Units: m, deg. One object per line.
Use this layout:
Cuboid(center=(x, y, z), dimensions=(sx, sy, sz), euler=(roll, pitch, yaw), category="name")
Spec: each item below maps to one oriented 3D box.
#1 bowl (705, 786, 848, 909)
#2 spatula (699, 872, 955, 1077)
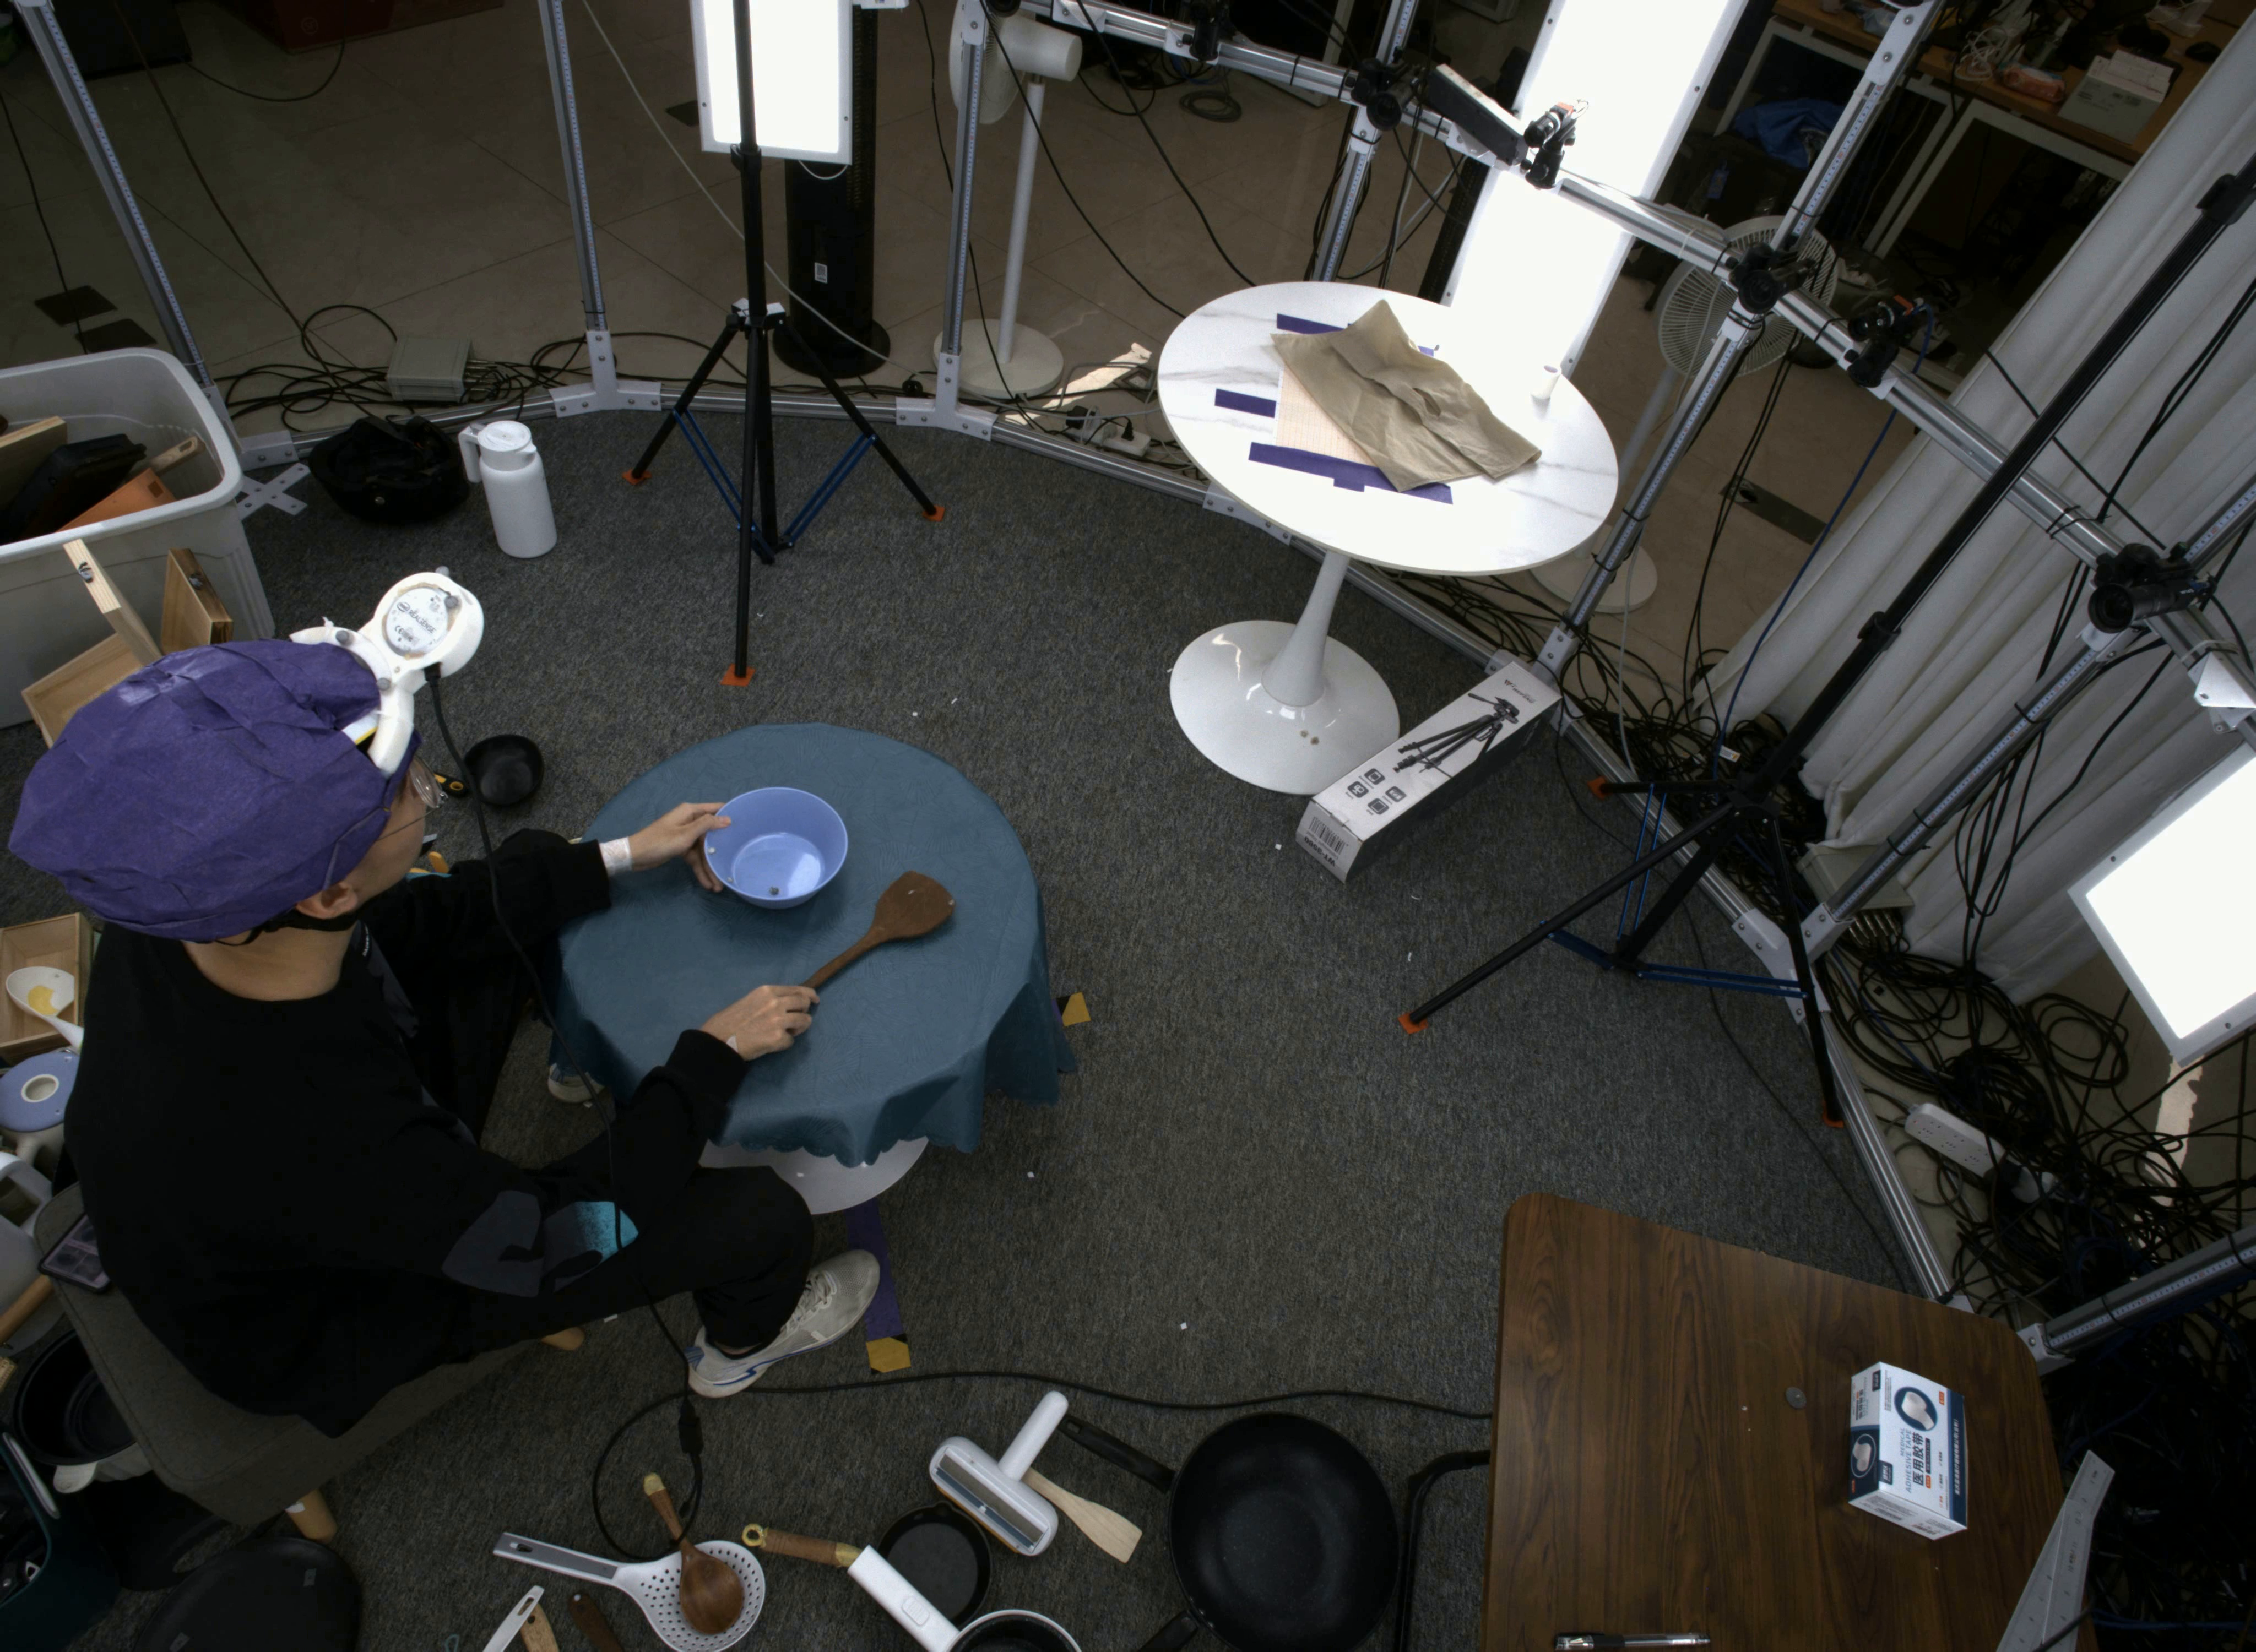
Cuboid(center=(-0.445, 0.037, 1.651), dimensions=(0.175, 0.072, 0.173), euler=(7, 53, -8), category="bowl")
Cuboid(center=(-0.370, 0.177, 1.594), dimensions=(0.093, 0.016, 0.386), euler=(30, 52, 28), category="spatula")
